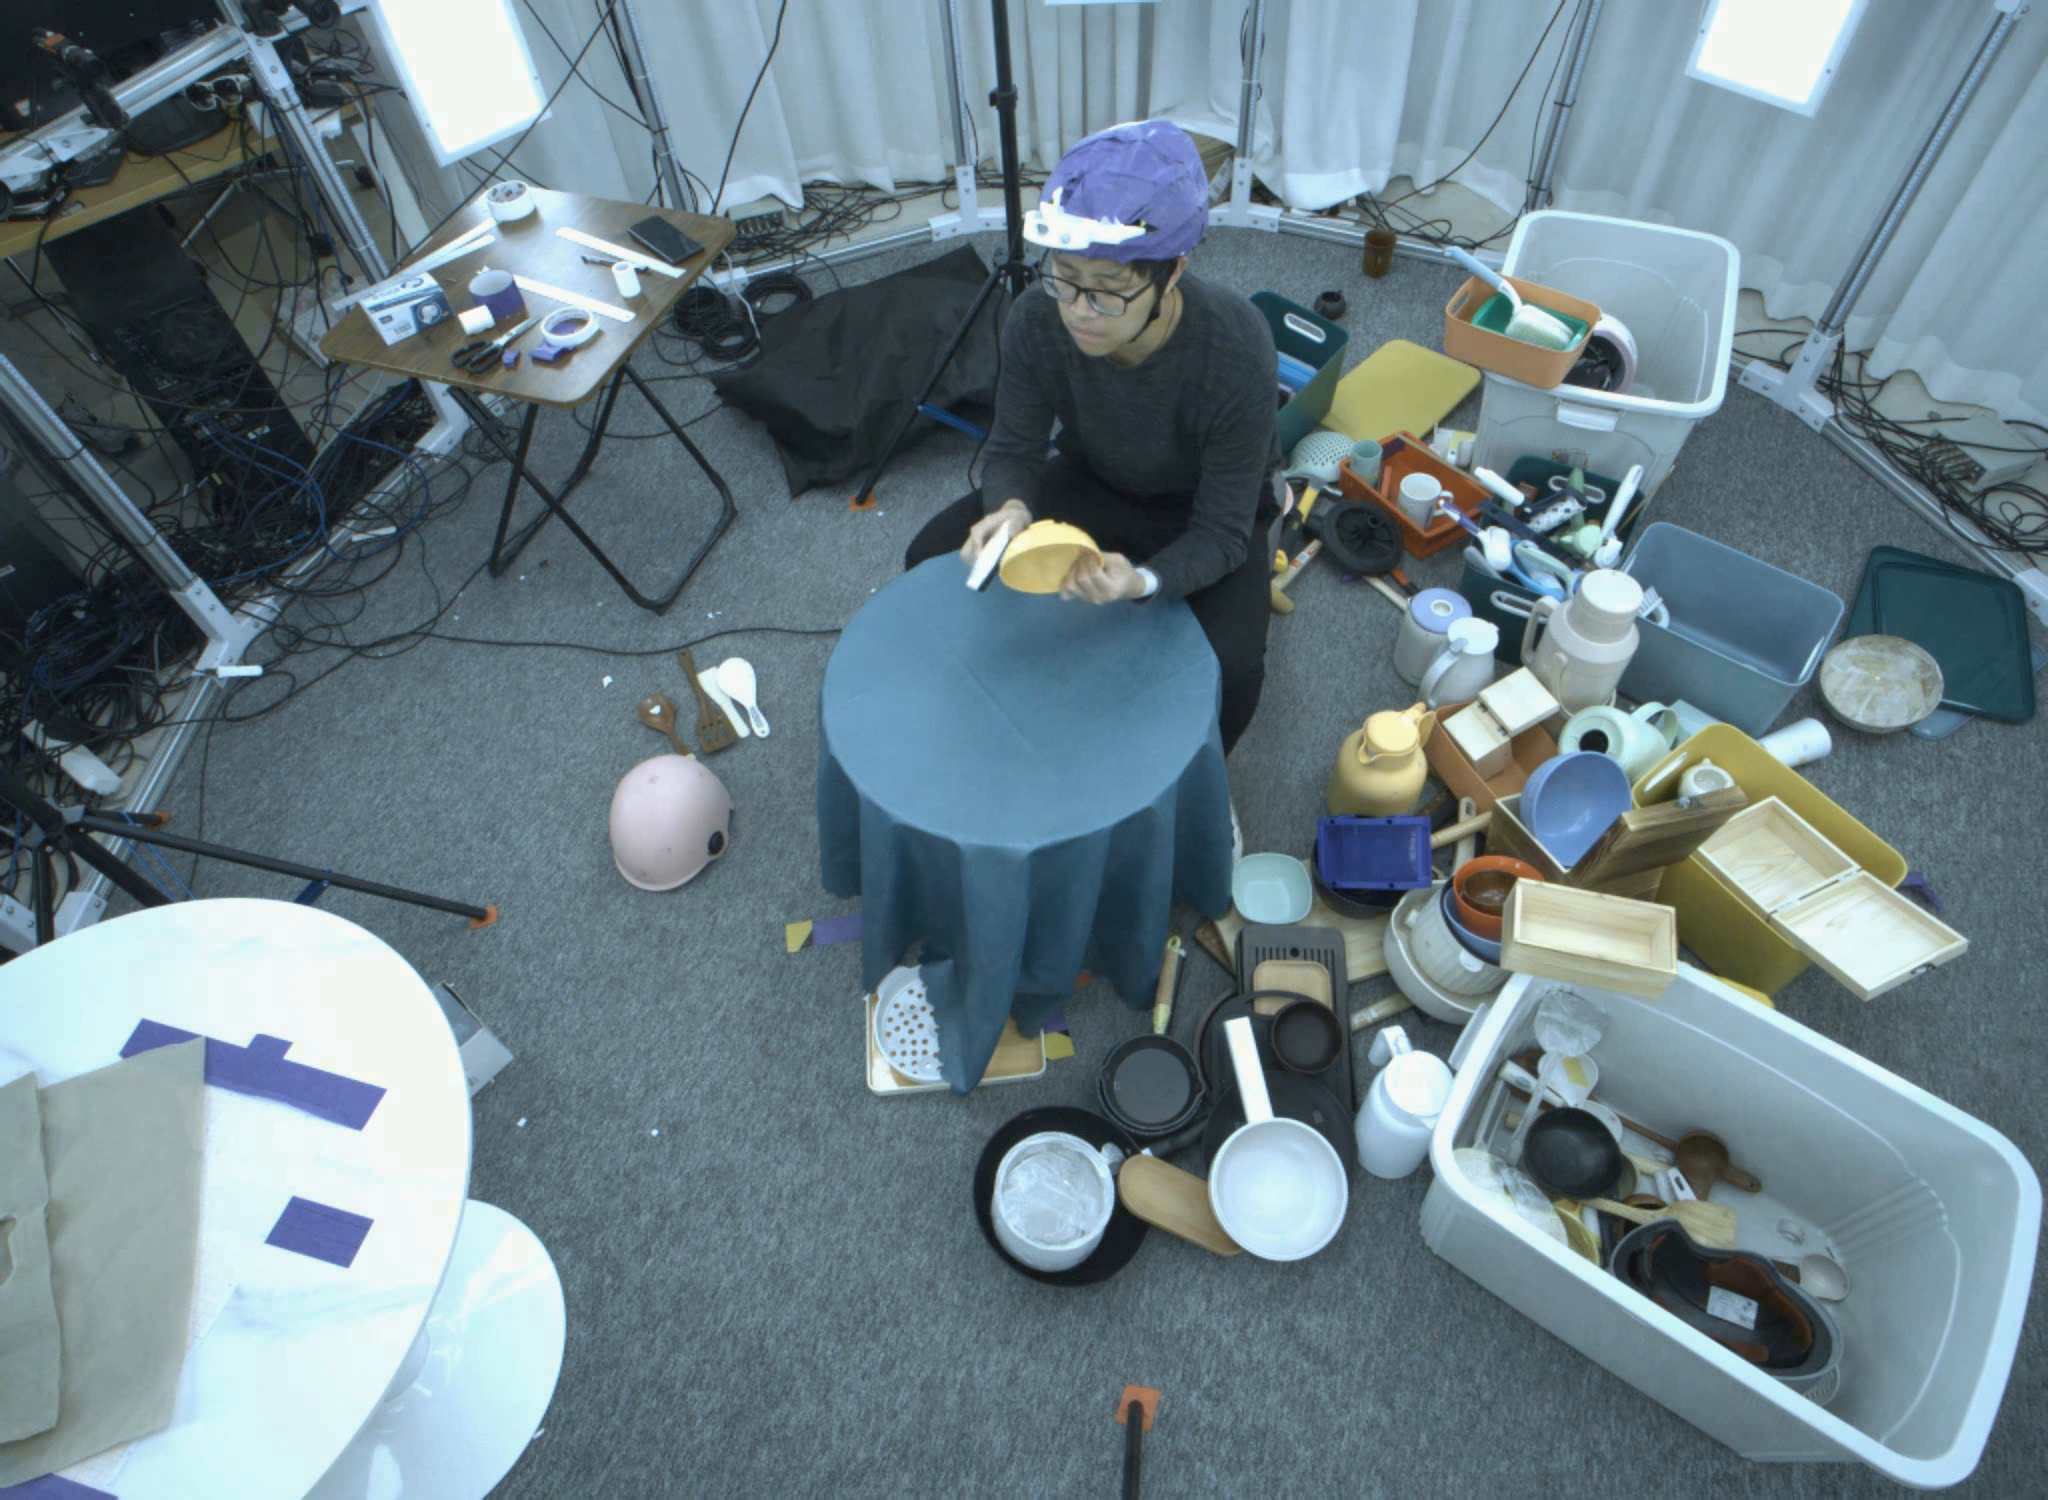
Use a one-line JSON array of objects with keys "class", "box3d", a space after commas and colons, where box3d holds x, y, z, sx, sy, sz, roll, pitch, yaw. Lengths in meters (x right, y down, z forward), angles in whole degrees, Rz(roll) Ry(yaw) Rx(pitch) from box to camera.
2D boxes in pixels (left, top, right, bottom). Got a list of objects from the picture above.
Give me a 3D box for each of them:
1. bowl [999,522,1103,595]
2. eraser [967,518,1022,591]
[{"class": "bowl", "box3d": [0.034, -0.273, 1.693, 0.145, 0.146, 0.059, -7, 70, -1]}, {"class": "eraser", "box3d": [-0.044, -0.279, 1.735, 0.035, 0.063, 0.131, 33, 40, -10]}]
